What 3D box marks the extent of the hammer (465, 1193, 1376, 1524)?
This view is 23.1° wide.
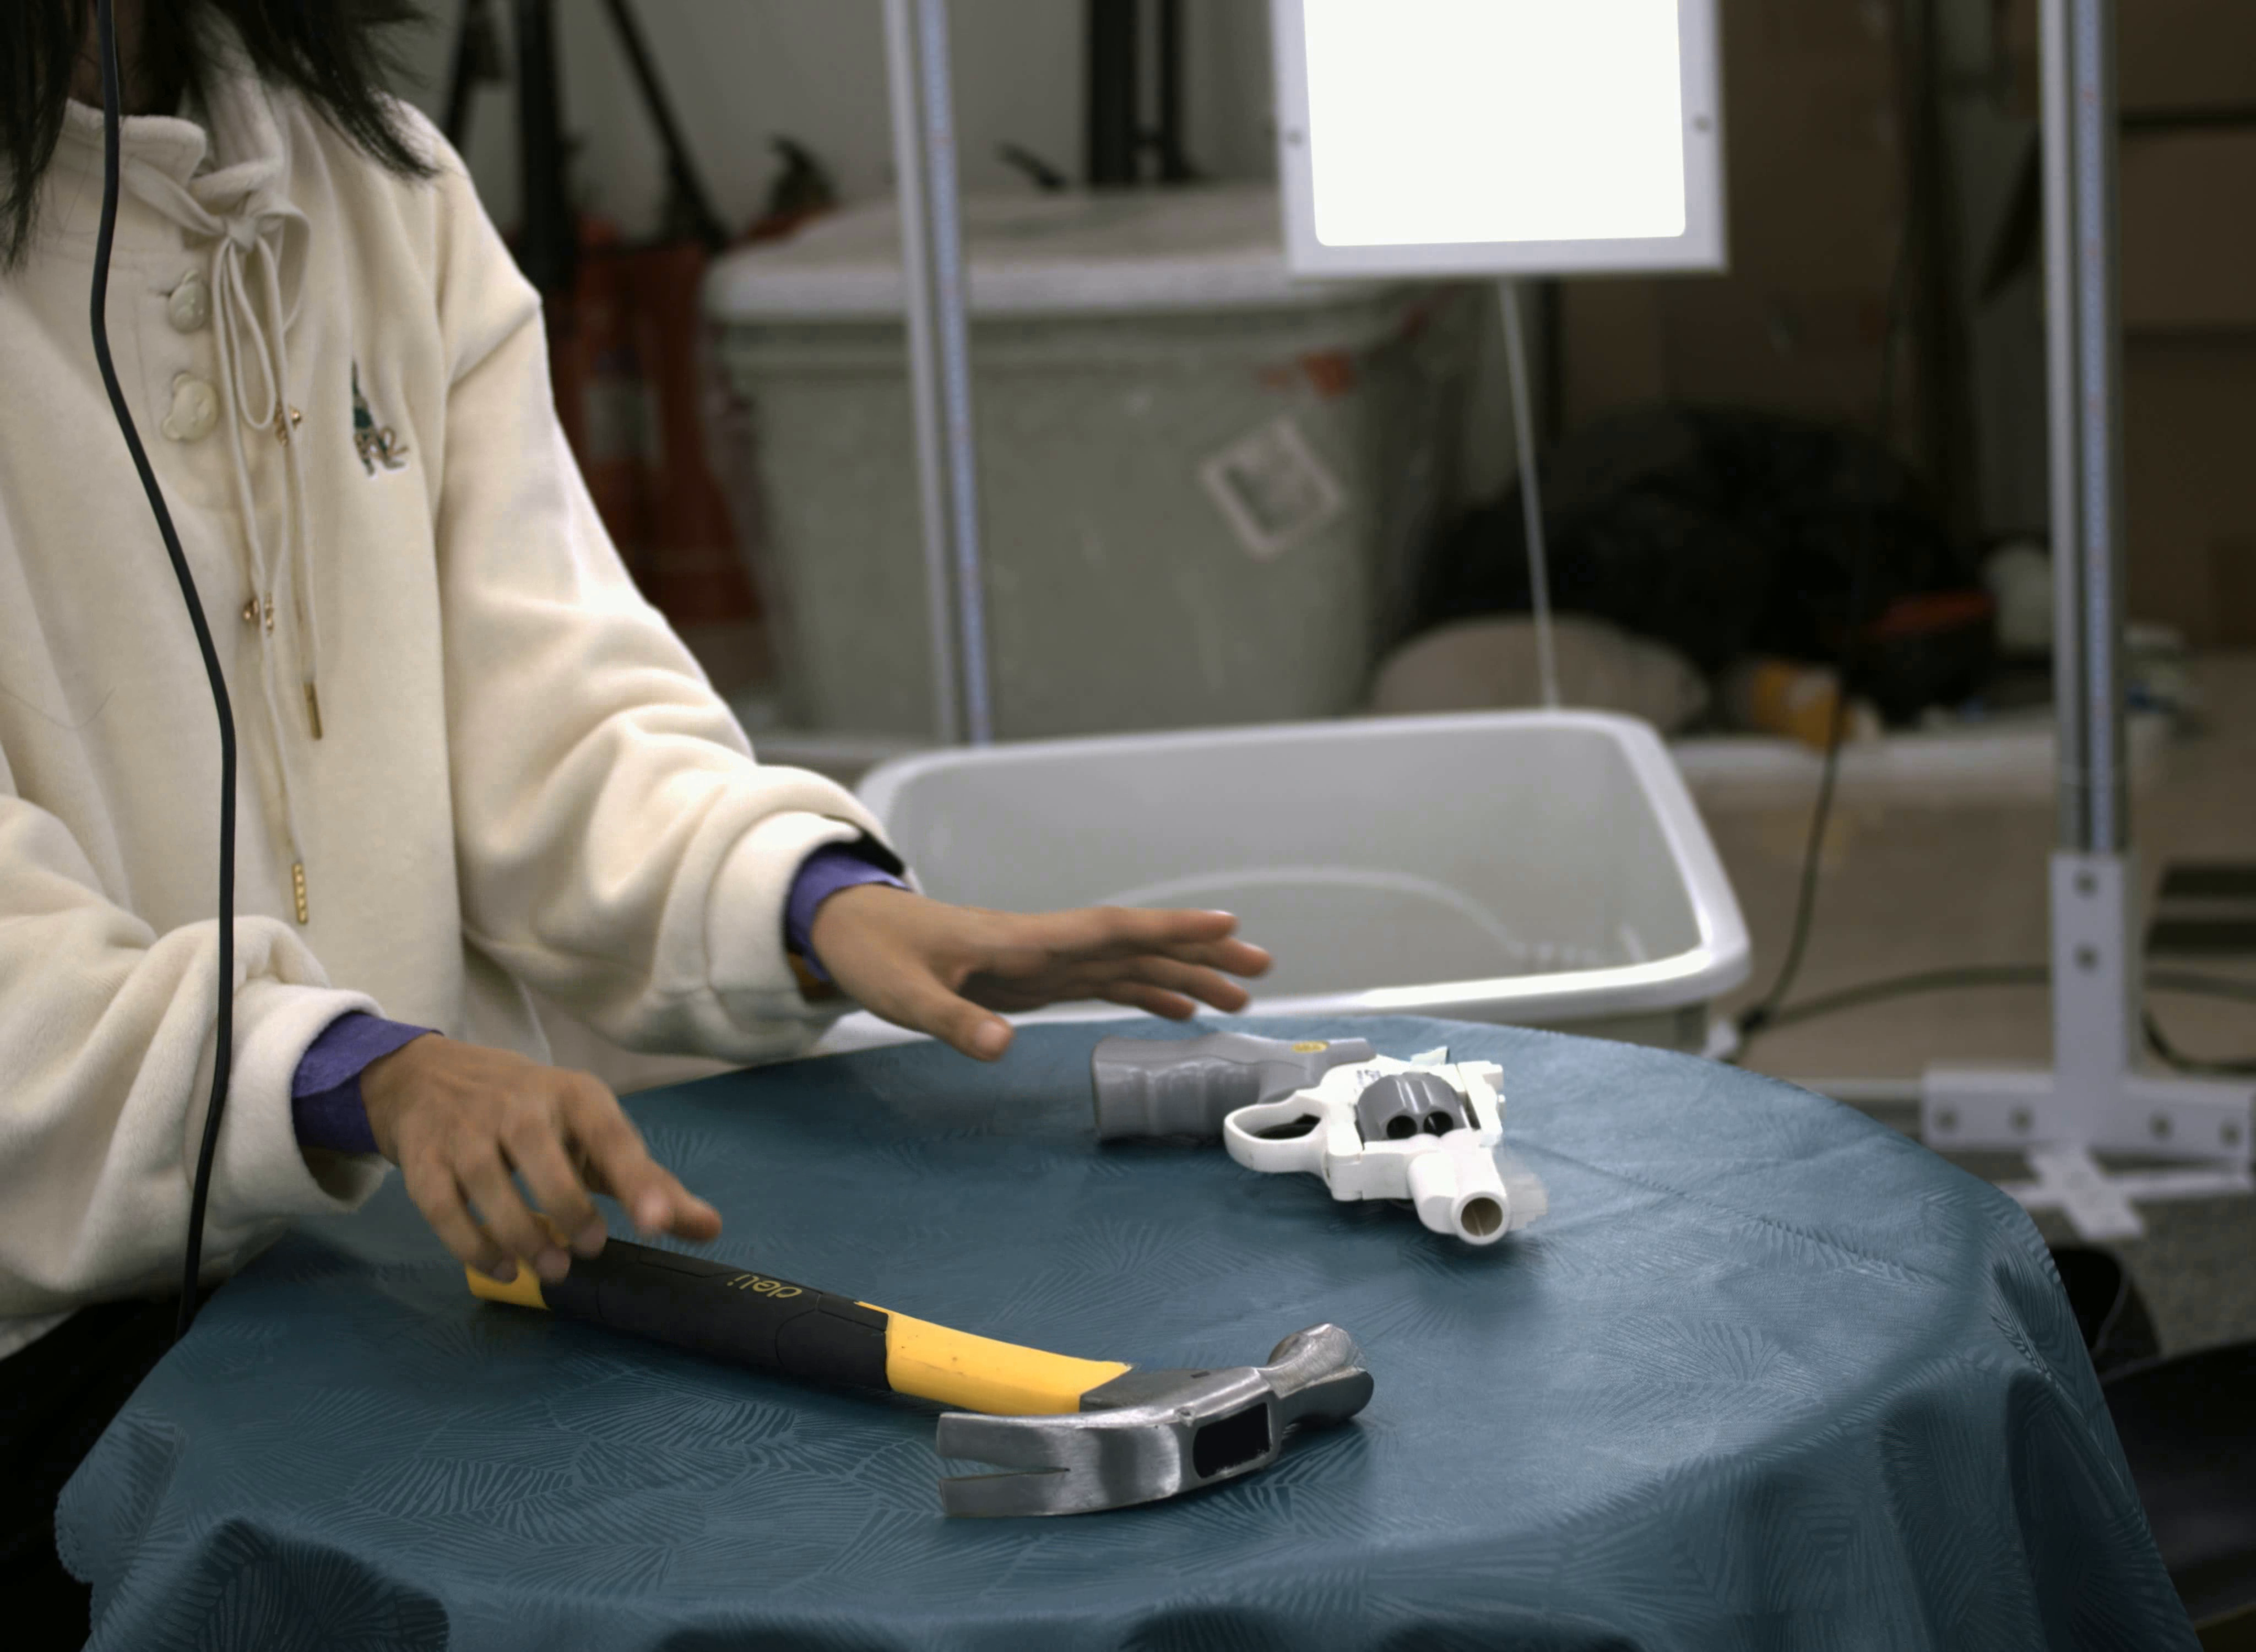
[{"bbox_3d":[-0.090,0.157,1.729,0.346,0.032,0.128,10,23,44],"label":"hammer"}]

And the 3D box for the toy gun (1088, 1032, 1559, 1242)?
[{"bbox_3d":[0.063,0.105,1.882,0.141,0.039,0.209,-5,13,-4],"label":"toy gun"}]
